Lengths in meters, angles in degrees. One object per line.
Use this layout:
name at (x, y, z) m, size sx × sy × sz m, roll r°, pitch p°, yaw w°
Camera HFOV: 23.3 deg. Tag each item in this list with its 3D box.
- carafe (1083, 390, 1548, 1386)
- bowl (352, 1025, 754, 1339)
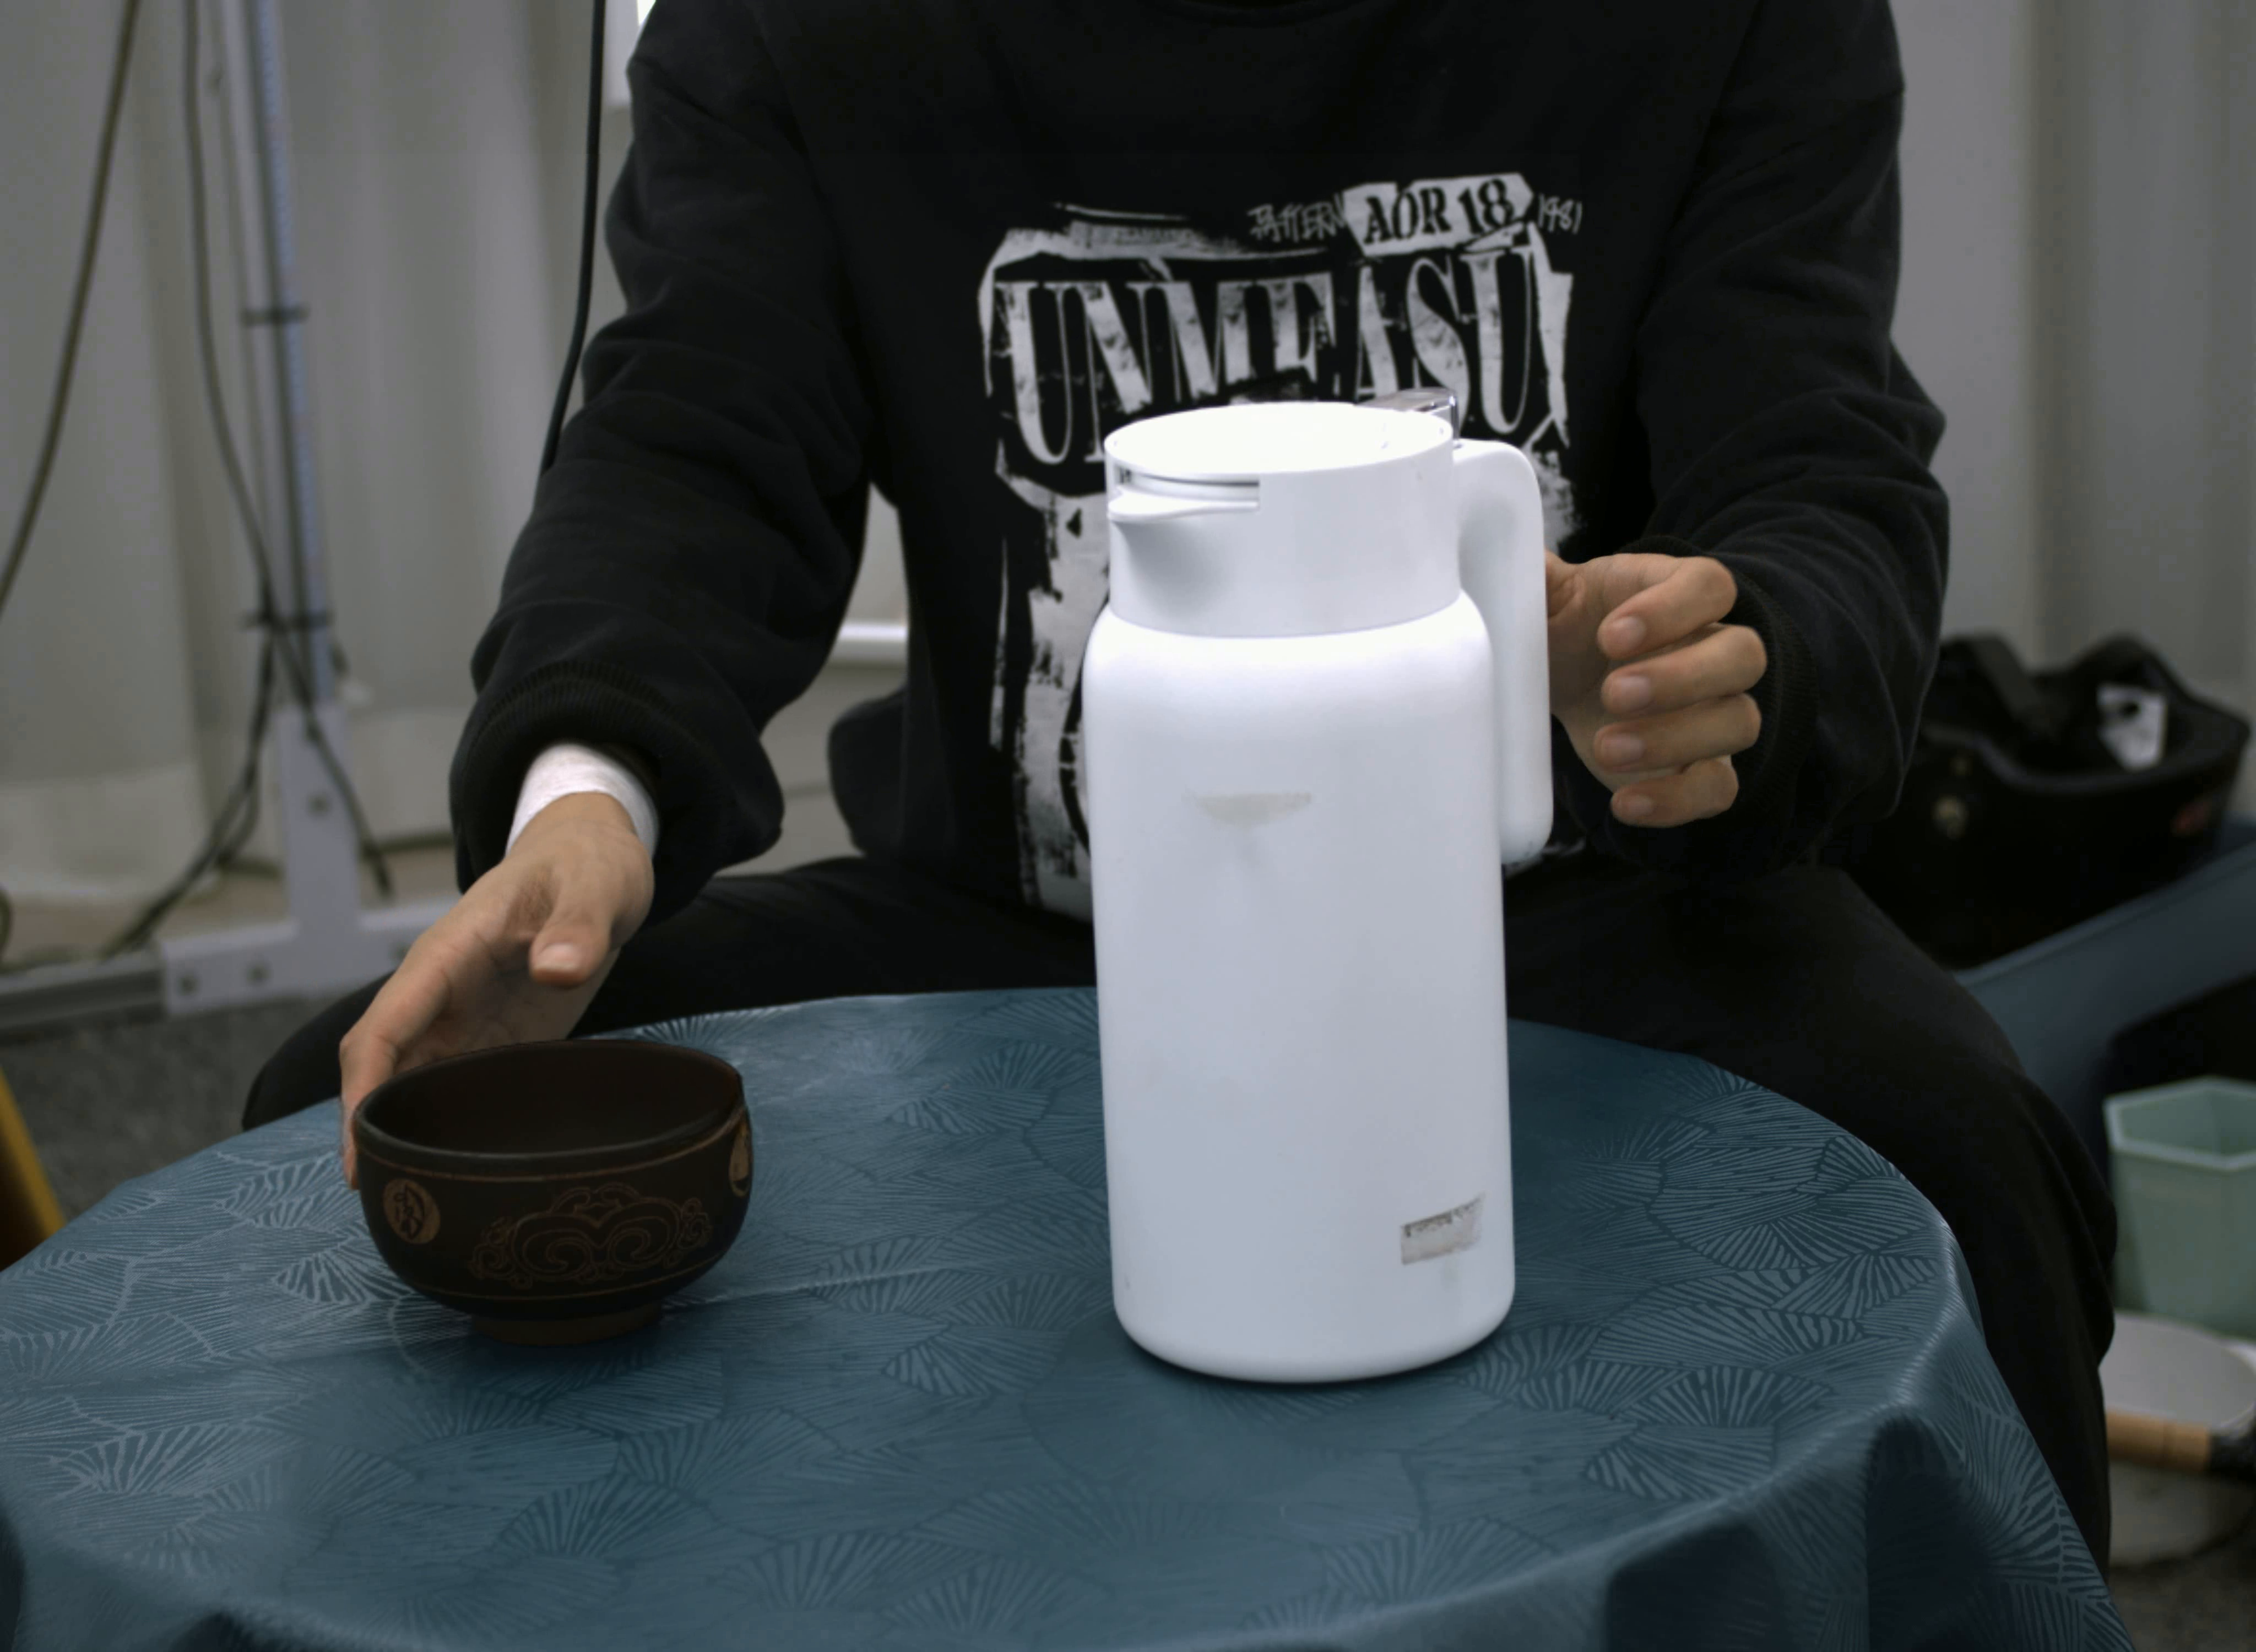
carafe at (0.059, 0.013, 1.571) m, size 0.124 × 0.268 × 0.172 m, roll 6°, pitch 16°, yaw 39°
bowl at (-0.169, 0.110, 1.622) m, size 0.117 × 0.069 × 0.119 m, roll -3°, pitch 16°, yaw 1°
